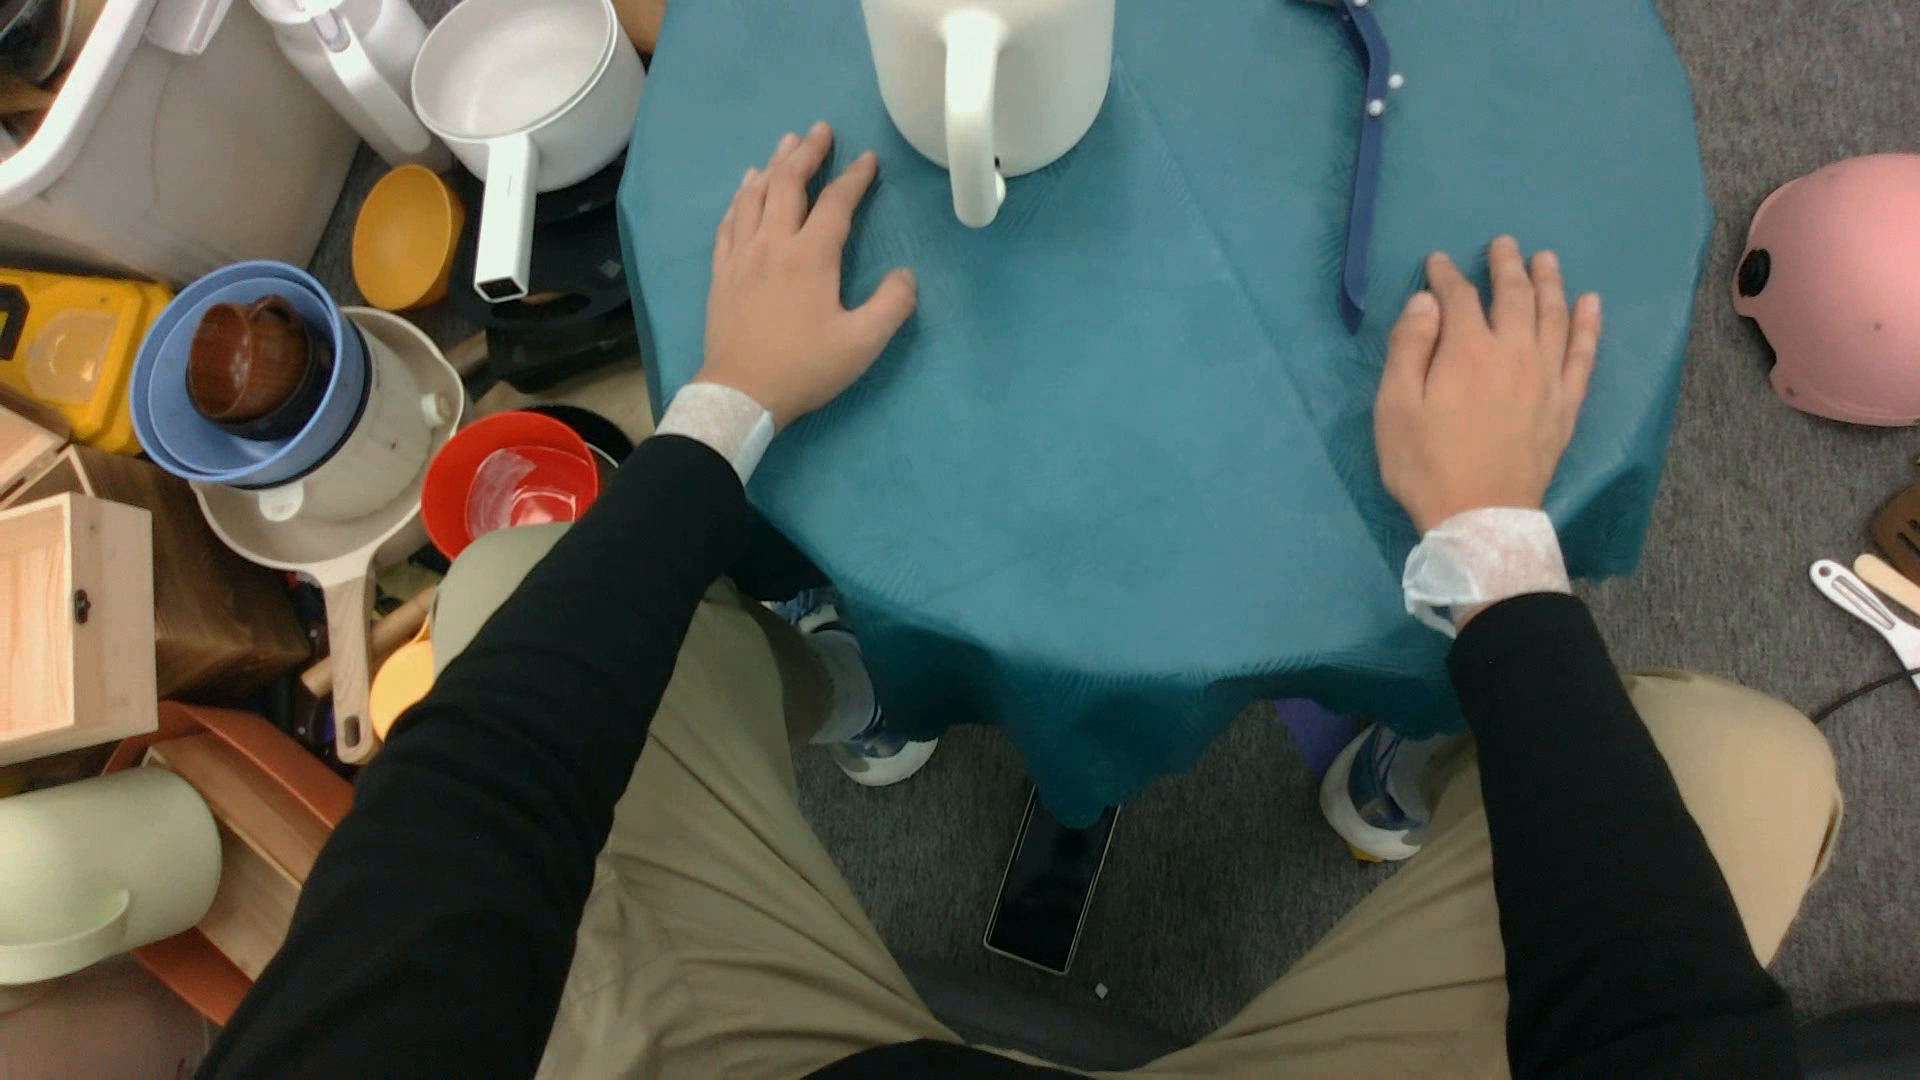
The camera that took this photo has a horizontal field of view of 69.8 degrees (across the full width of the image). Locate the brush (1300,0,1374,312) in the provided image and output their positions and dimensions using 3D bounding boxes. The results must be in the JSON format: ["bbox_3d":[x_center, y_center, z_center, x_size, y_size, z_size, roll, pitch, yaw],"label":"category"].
[{"bbox_3d":[0.224,-0.257,0.762,0.096,0.033,0.274,2,77,0],"label":"brush"}]

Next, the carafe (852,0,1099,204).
[{"bbox_3d":[0.006,-0.271,0.702,0.132,0.182,0.191,2,79,3],"label":"carafe"}]
